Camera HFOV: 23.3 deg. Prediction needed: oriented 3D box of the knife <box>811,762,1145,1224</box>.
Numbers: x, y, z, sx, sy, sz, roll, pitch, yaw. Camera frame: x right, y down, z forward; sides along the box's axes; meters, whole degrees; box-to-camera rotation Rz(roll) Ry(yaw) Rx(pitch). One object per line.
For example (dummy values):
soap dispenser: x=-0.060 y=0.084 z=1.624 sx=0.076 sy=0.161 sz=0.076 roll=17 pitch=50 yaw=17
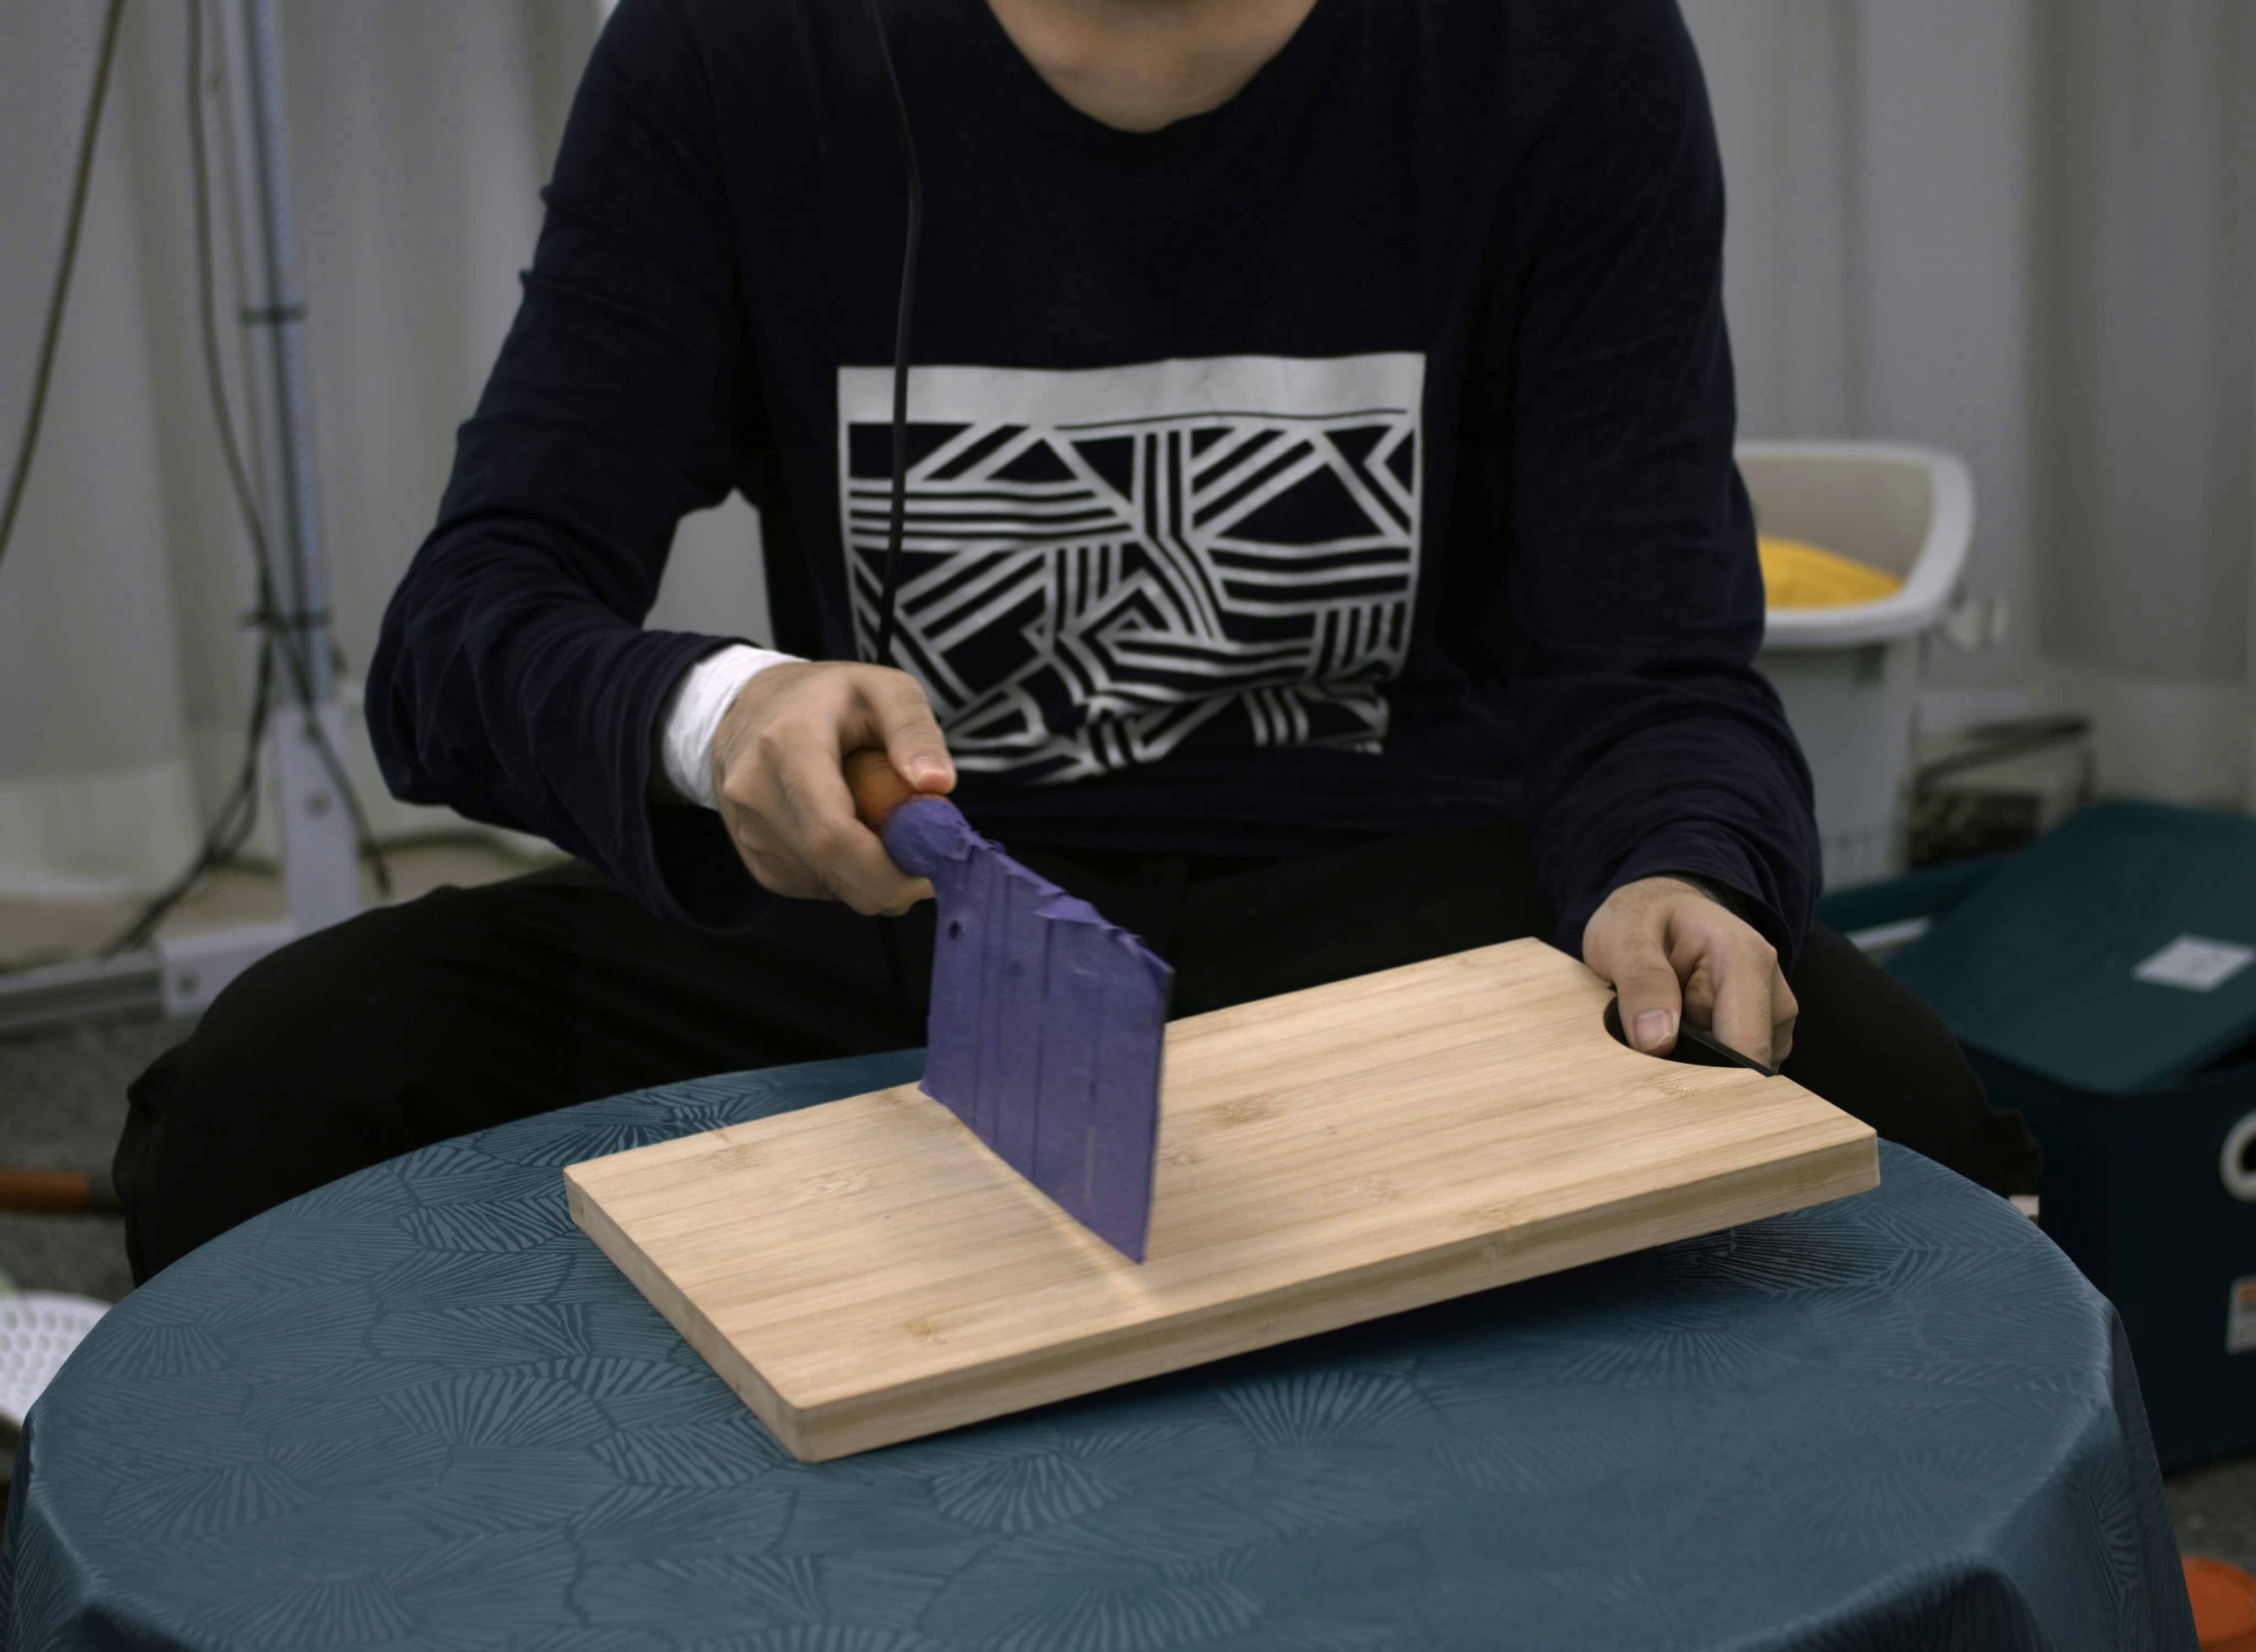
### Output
knife: x=-0.049 y=0.049 z=1.675 sx=0.032 sy=0.104 sz=0.317 roll=3 pitch=9 yaw=-17

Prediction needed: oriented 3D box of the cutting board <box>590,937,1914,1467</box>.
cutting board: x=0.028 y=0.106 z=1.662 sx=0.347 sy=0.023 sz=0.253 roll=-13 pitch=17 yaw=-19
